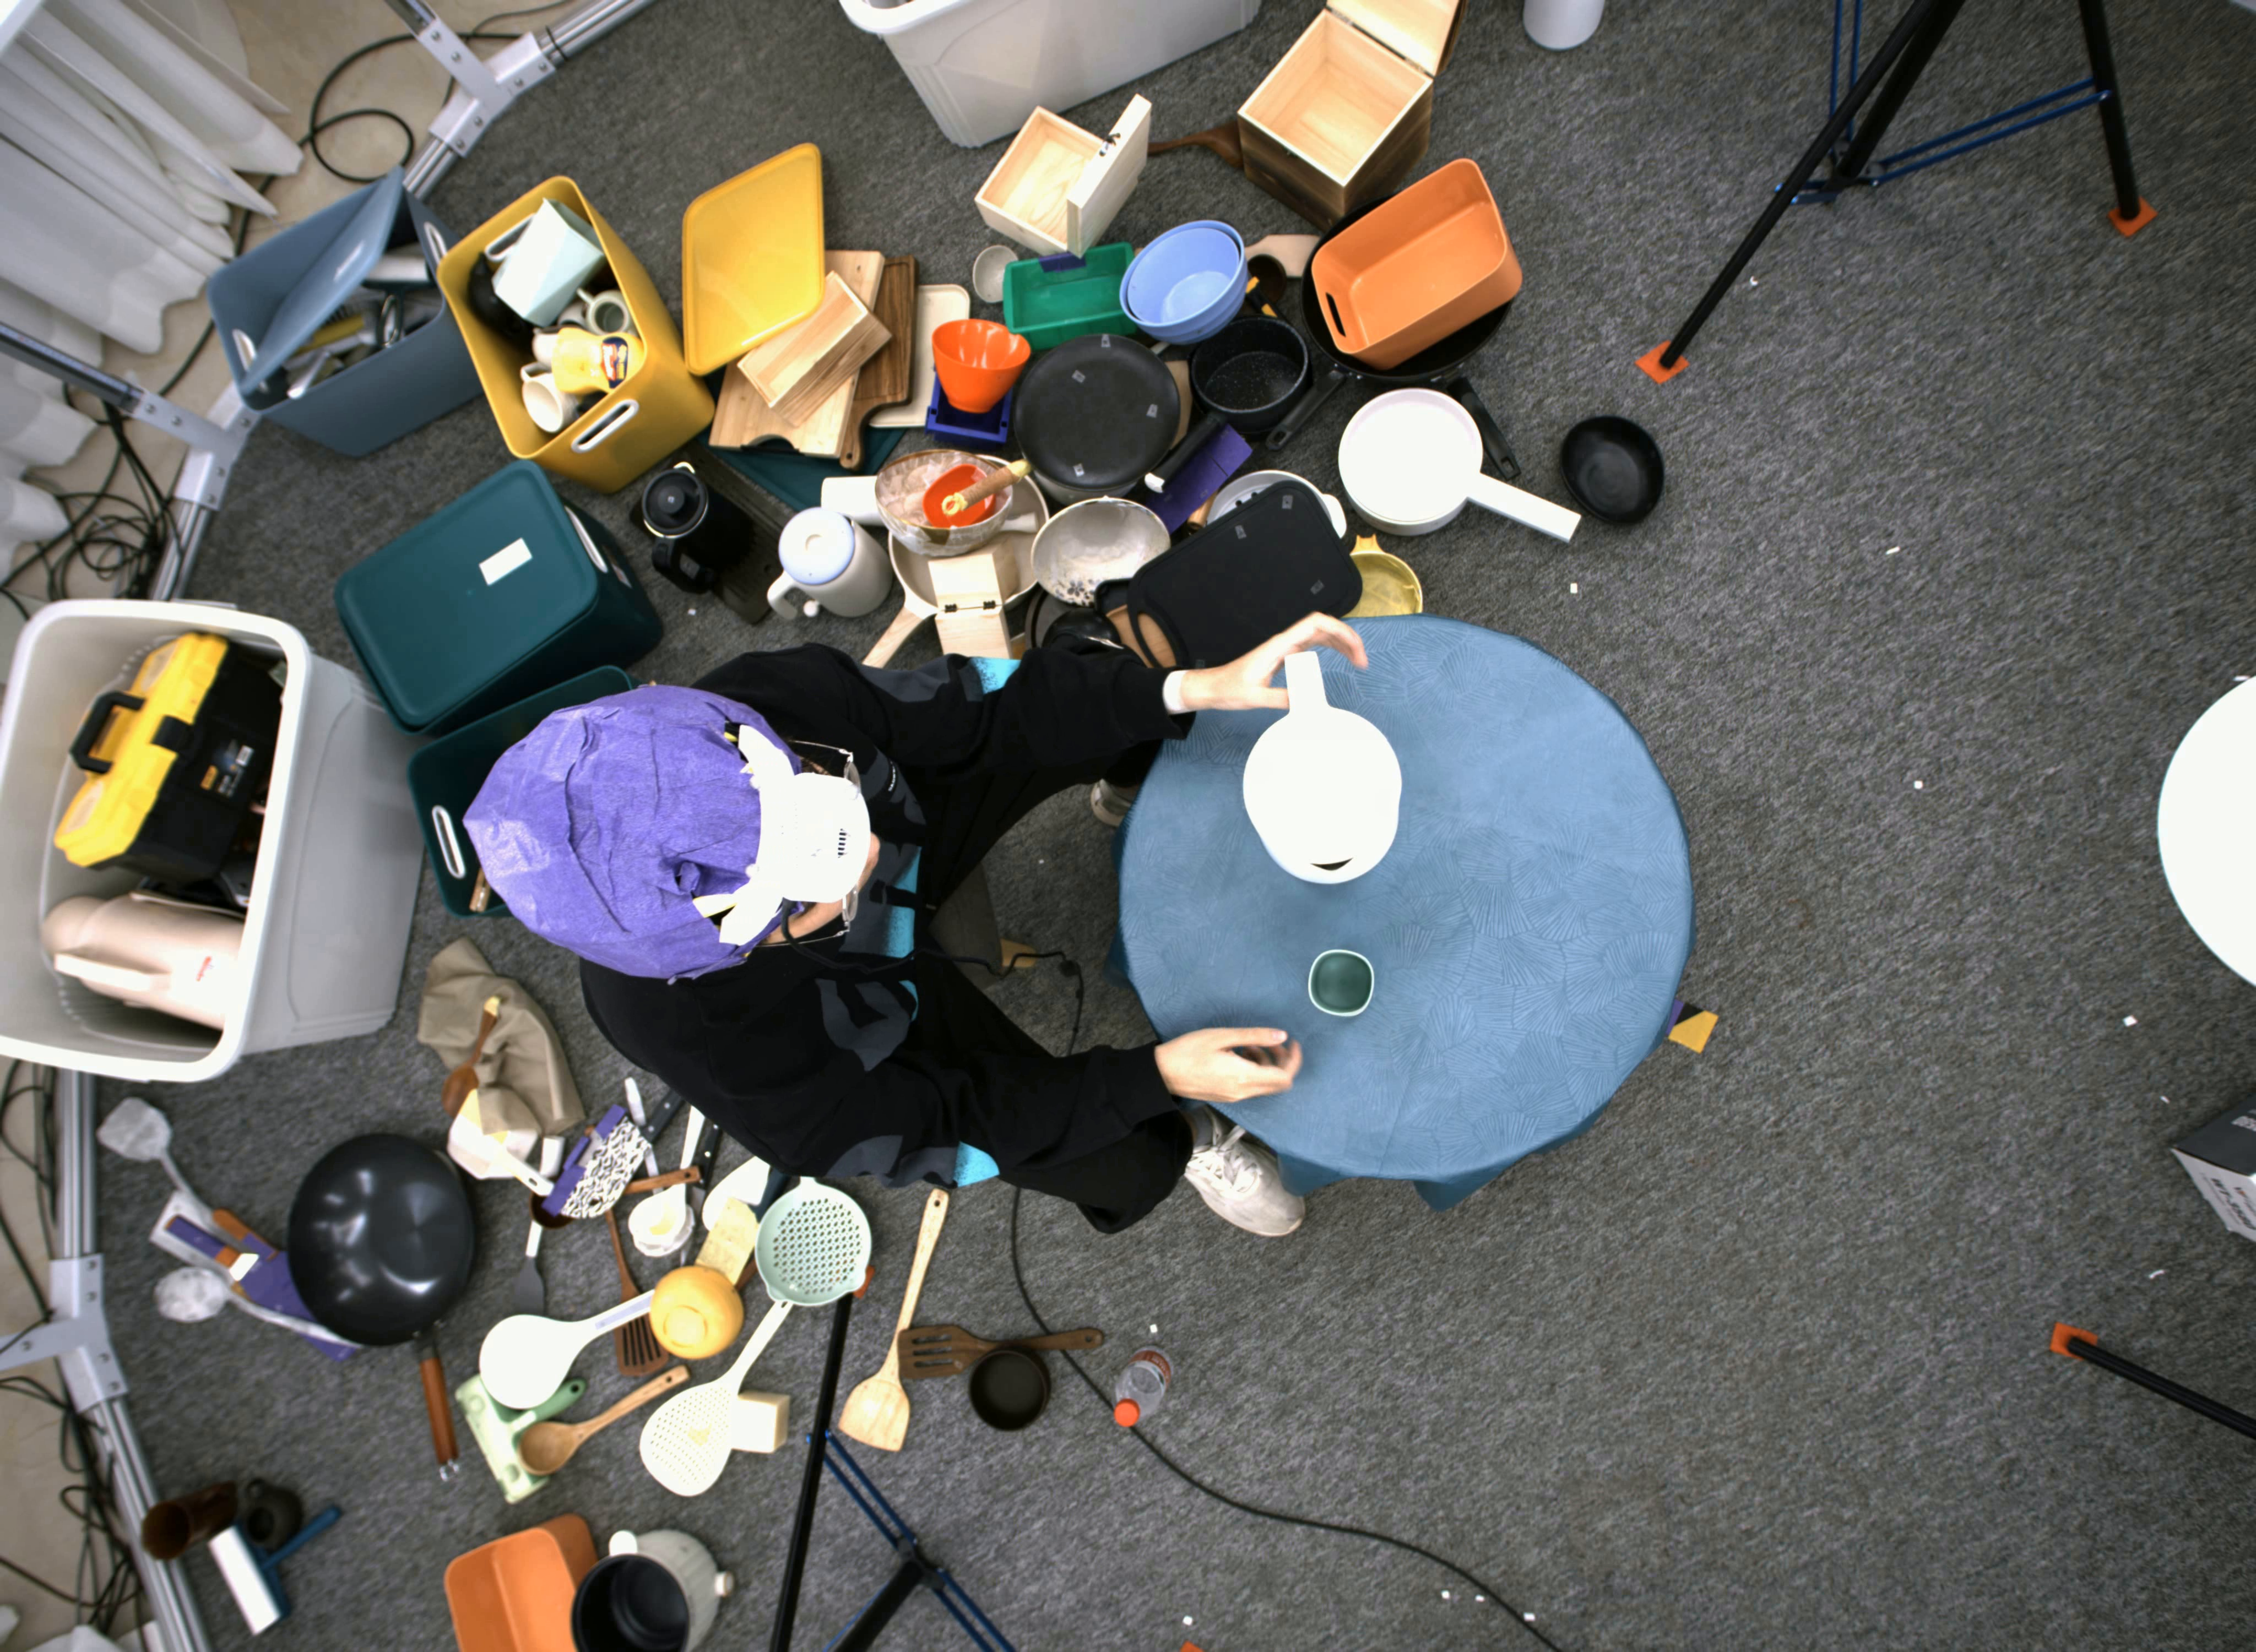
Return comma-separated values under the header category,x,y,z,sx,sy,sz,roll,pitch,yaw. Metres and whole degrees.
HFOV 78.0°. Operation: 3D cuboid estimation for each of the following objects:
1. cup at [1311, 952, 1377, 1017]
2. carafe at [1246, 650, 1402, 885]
category,x,y,z,sx,sy,sz,roll,pitch,yaw
cup,0.217,0.157,1.398,0.067,0.132,0.066,-1,86,9
carafe,0.192,-0.053,1.358,0.153,0.240,0.212,-8,85,8
